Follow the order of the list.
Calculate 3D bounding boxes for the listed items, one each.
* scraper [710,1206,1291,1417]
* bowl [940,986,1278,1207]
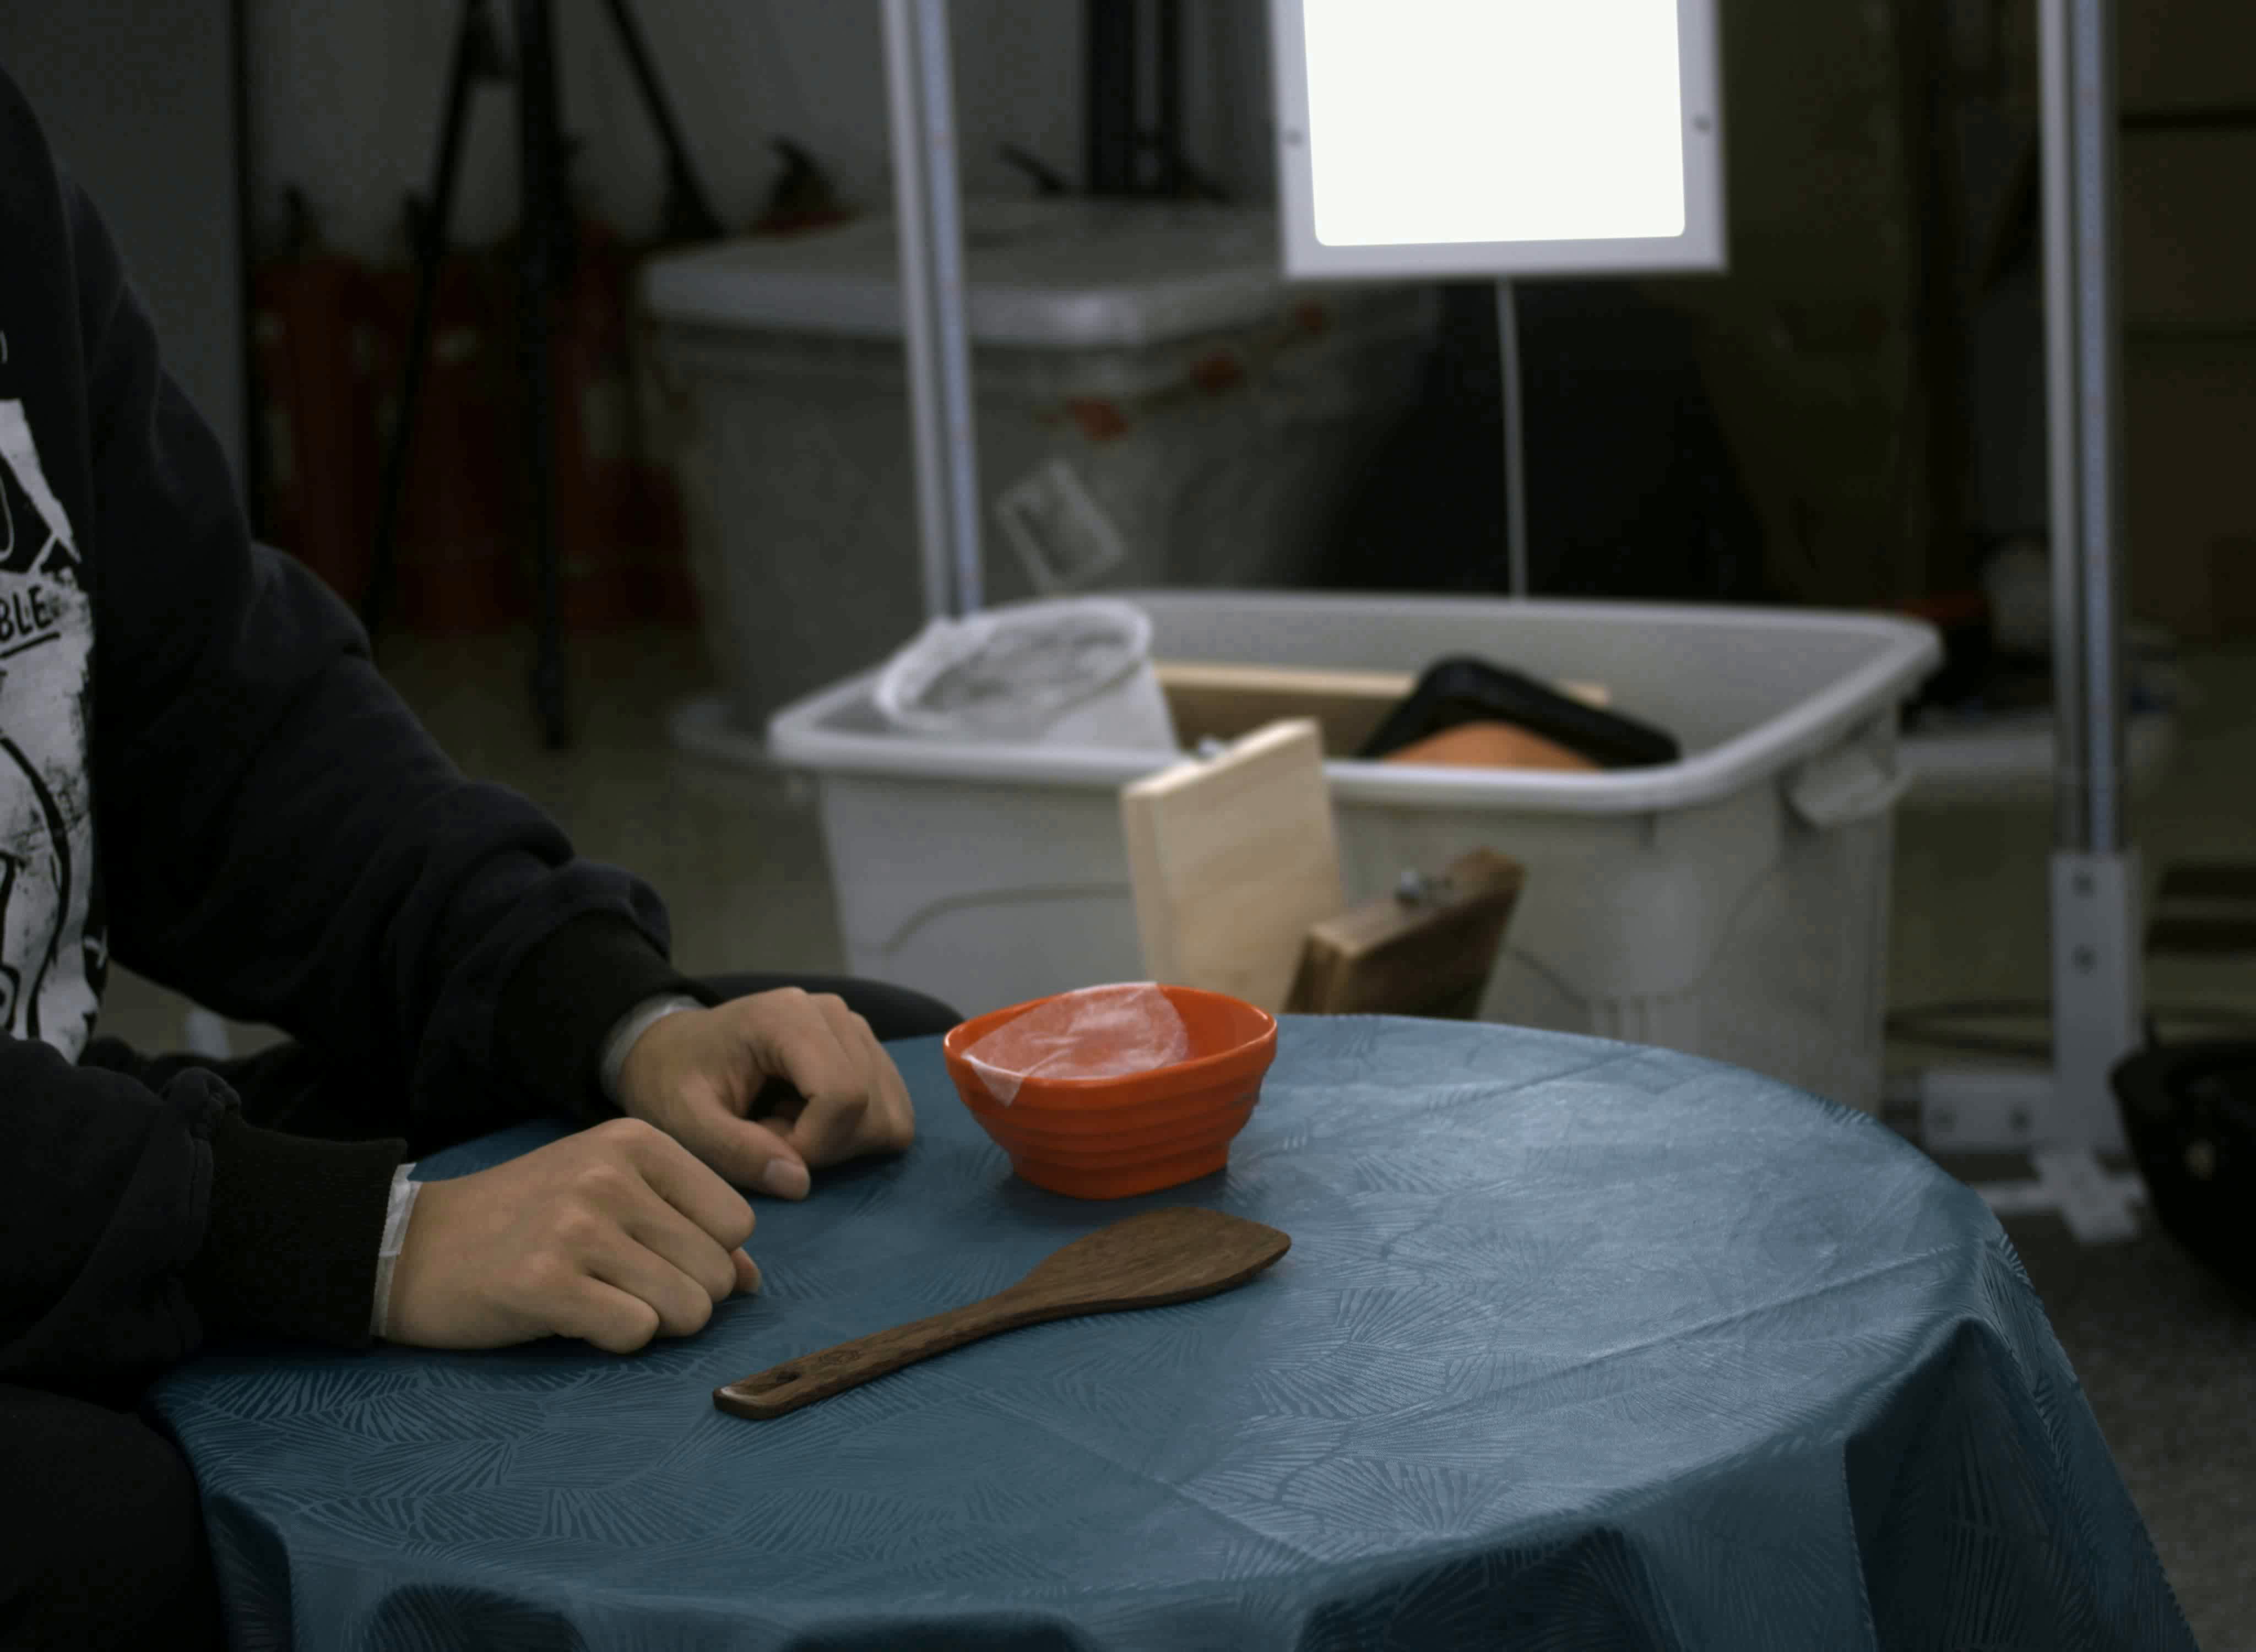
[{"bbox_3d":[-0.044,0.157,1.771,0.206,0.011,0.077,-16,16,-35],"label":"scraper"},{"bbox_3d":[-0.005,0.097,1.922,0.118,0.051,0.119,-5,15,0],"label":"bowl"}]
